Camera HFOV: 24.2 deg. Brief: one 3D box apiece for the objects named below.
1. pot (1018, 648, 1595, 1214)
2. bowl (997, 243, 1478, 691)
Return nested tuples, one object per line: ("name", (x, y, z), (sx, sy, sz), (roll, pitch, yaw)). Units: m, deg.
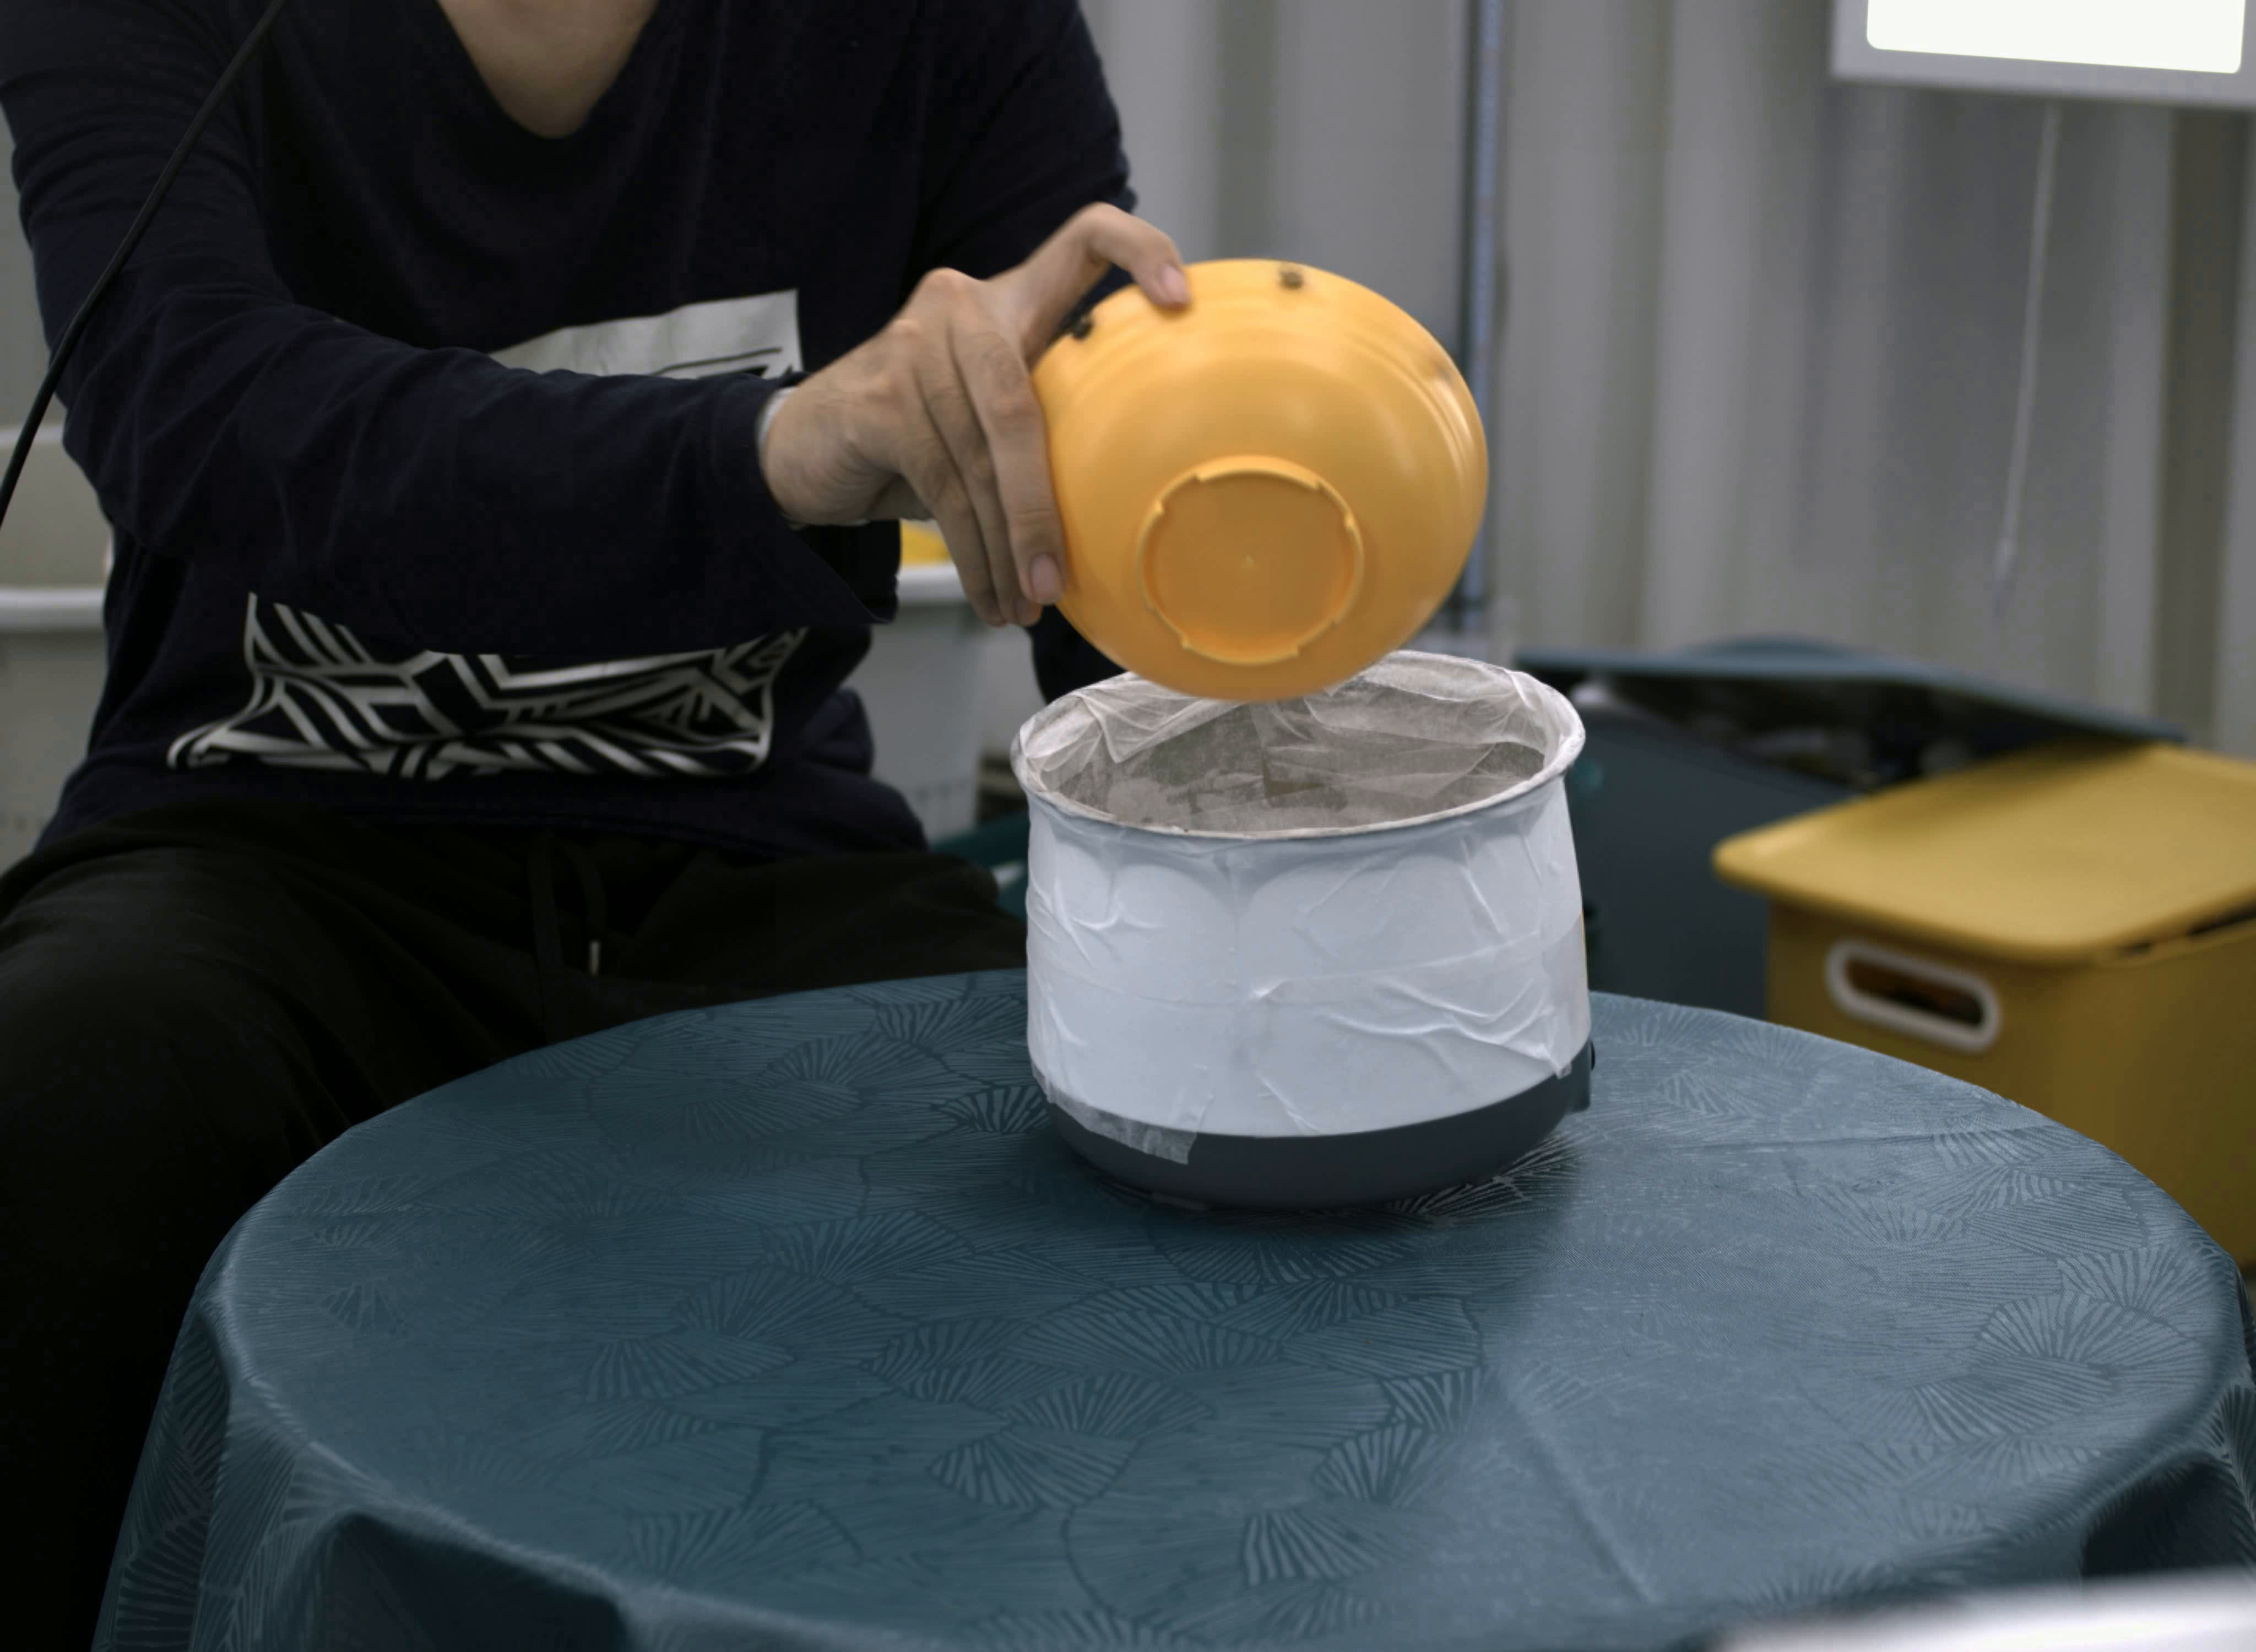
("pot", (0.051, 0.023, 1.661), (0.178, 0.138, 0.231), (-4, 20, -9))
("bowl", (0.031, -0.094, 1.549), (0.145, 0.147, 0.059), (1, 32, 1))
